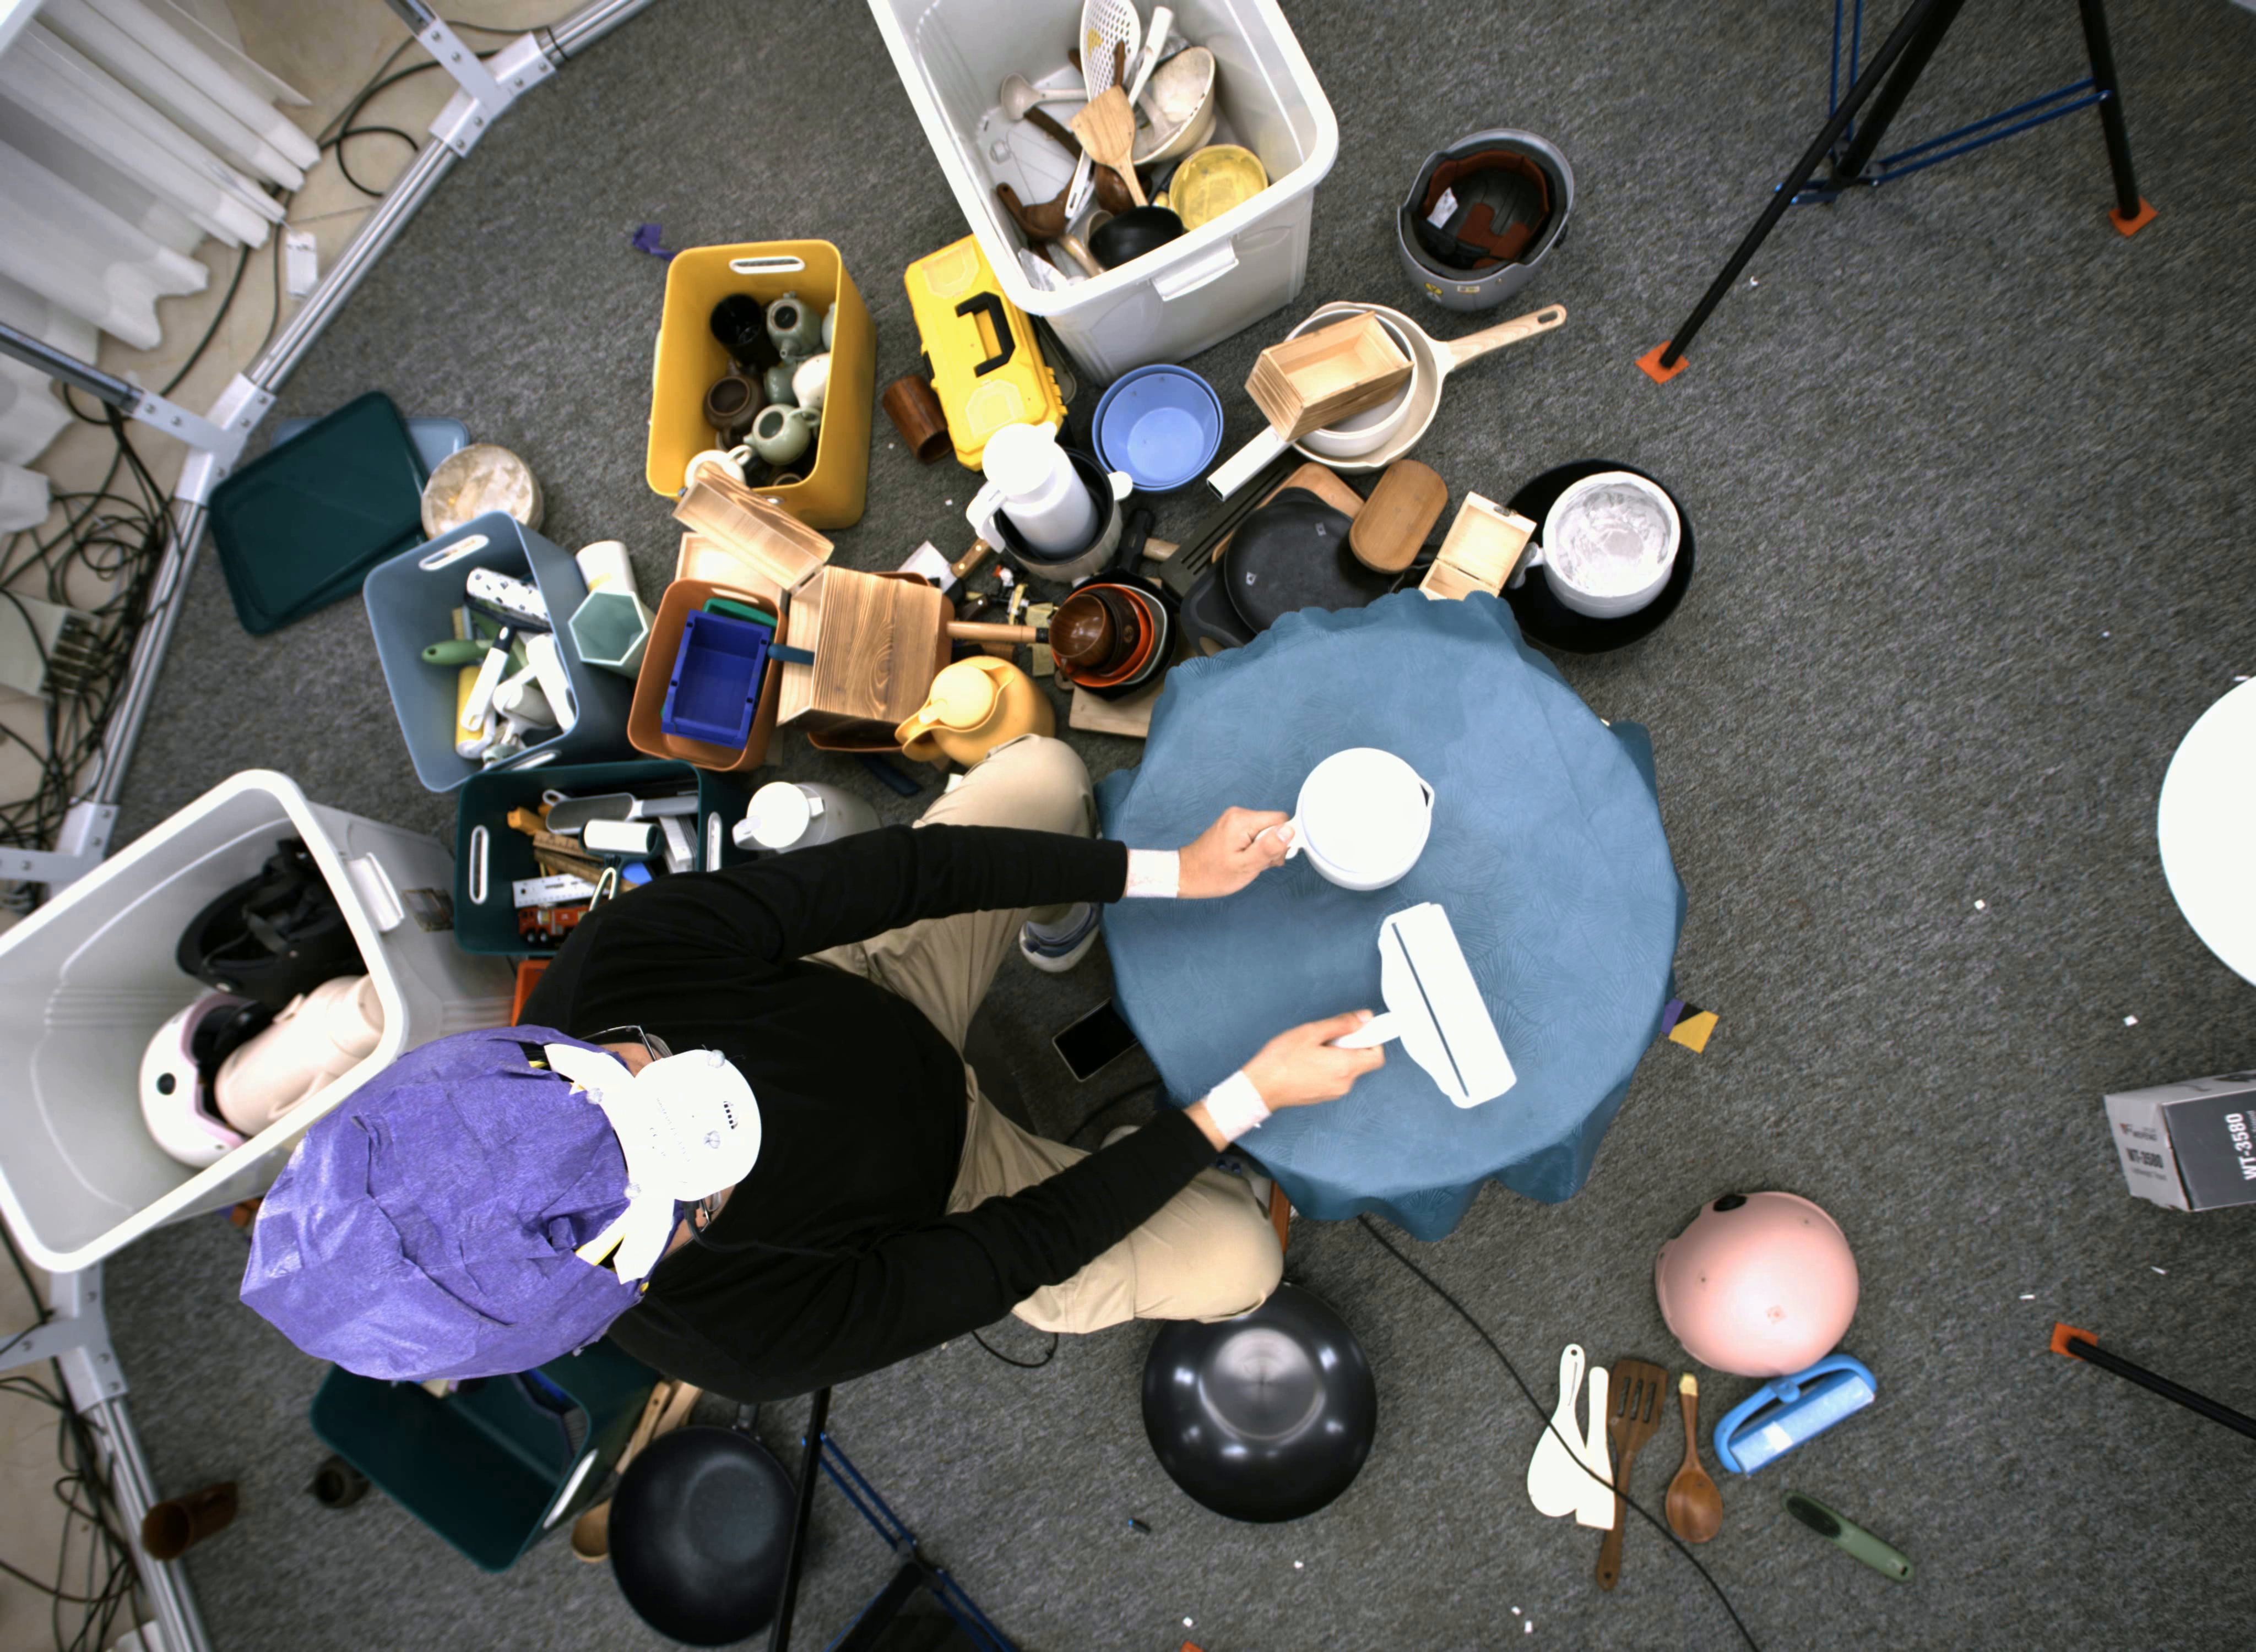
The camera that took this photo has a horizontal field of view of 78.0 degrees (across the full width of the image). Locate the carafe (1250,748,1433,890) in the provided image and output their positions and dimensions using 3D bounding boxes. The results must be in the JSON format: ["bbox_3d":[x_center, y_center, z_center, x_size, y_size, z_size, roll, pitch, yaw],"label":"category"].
[{"bbox_3d":[0.213,0.001,1.388,0.192,0.182,0.131,-17,81,10],"label":"carafe"}]

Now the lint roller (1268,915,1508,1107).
[{"bbox_3d":[0.239,0.206,1.382,0.229,0.047,0.204,-22,106,26],"label":"lint roller"}]
